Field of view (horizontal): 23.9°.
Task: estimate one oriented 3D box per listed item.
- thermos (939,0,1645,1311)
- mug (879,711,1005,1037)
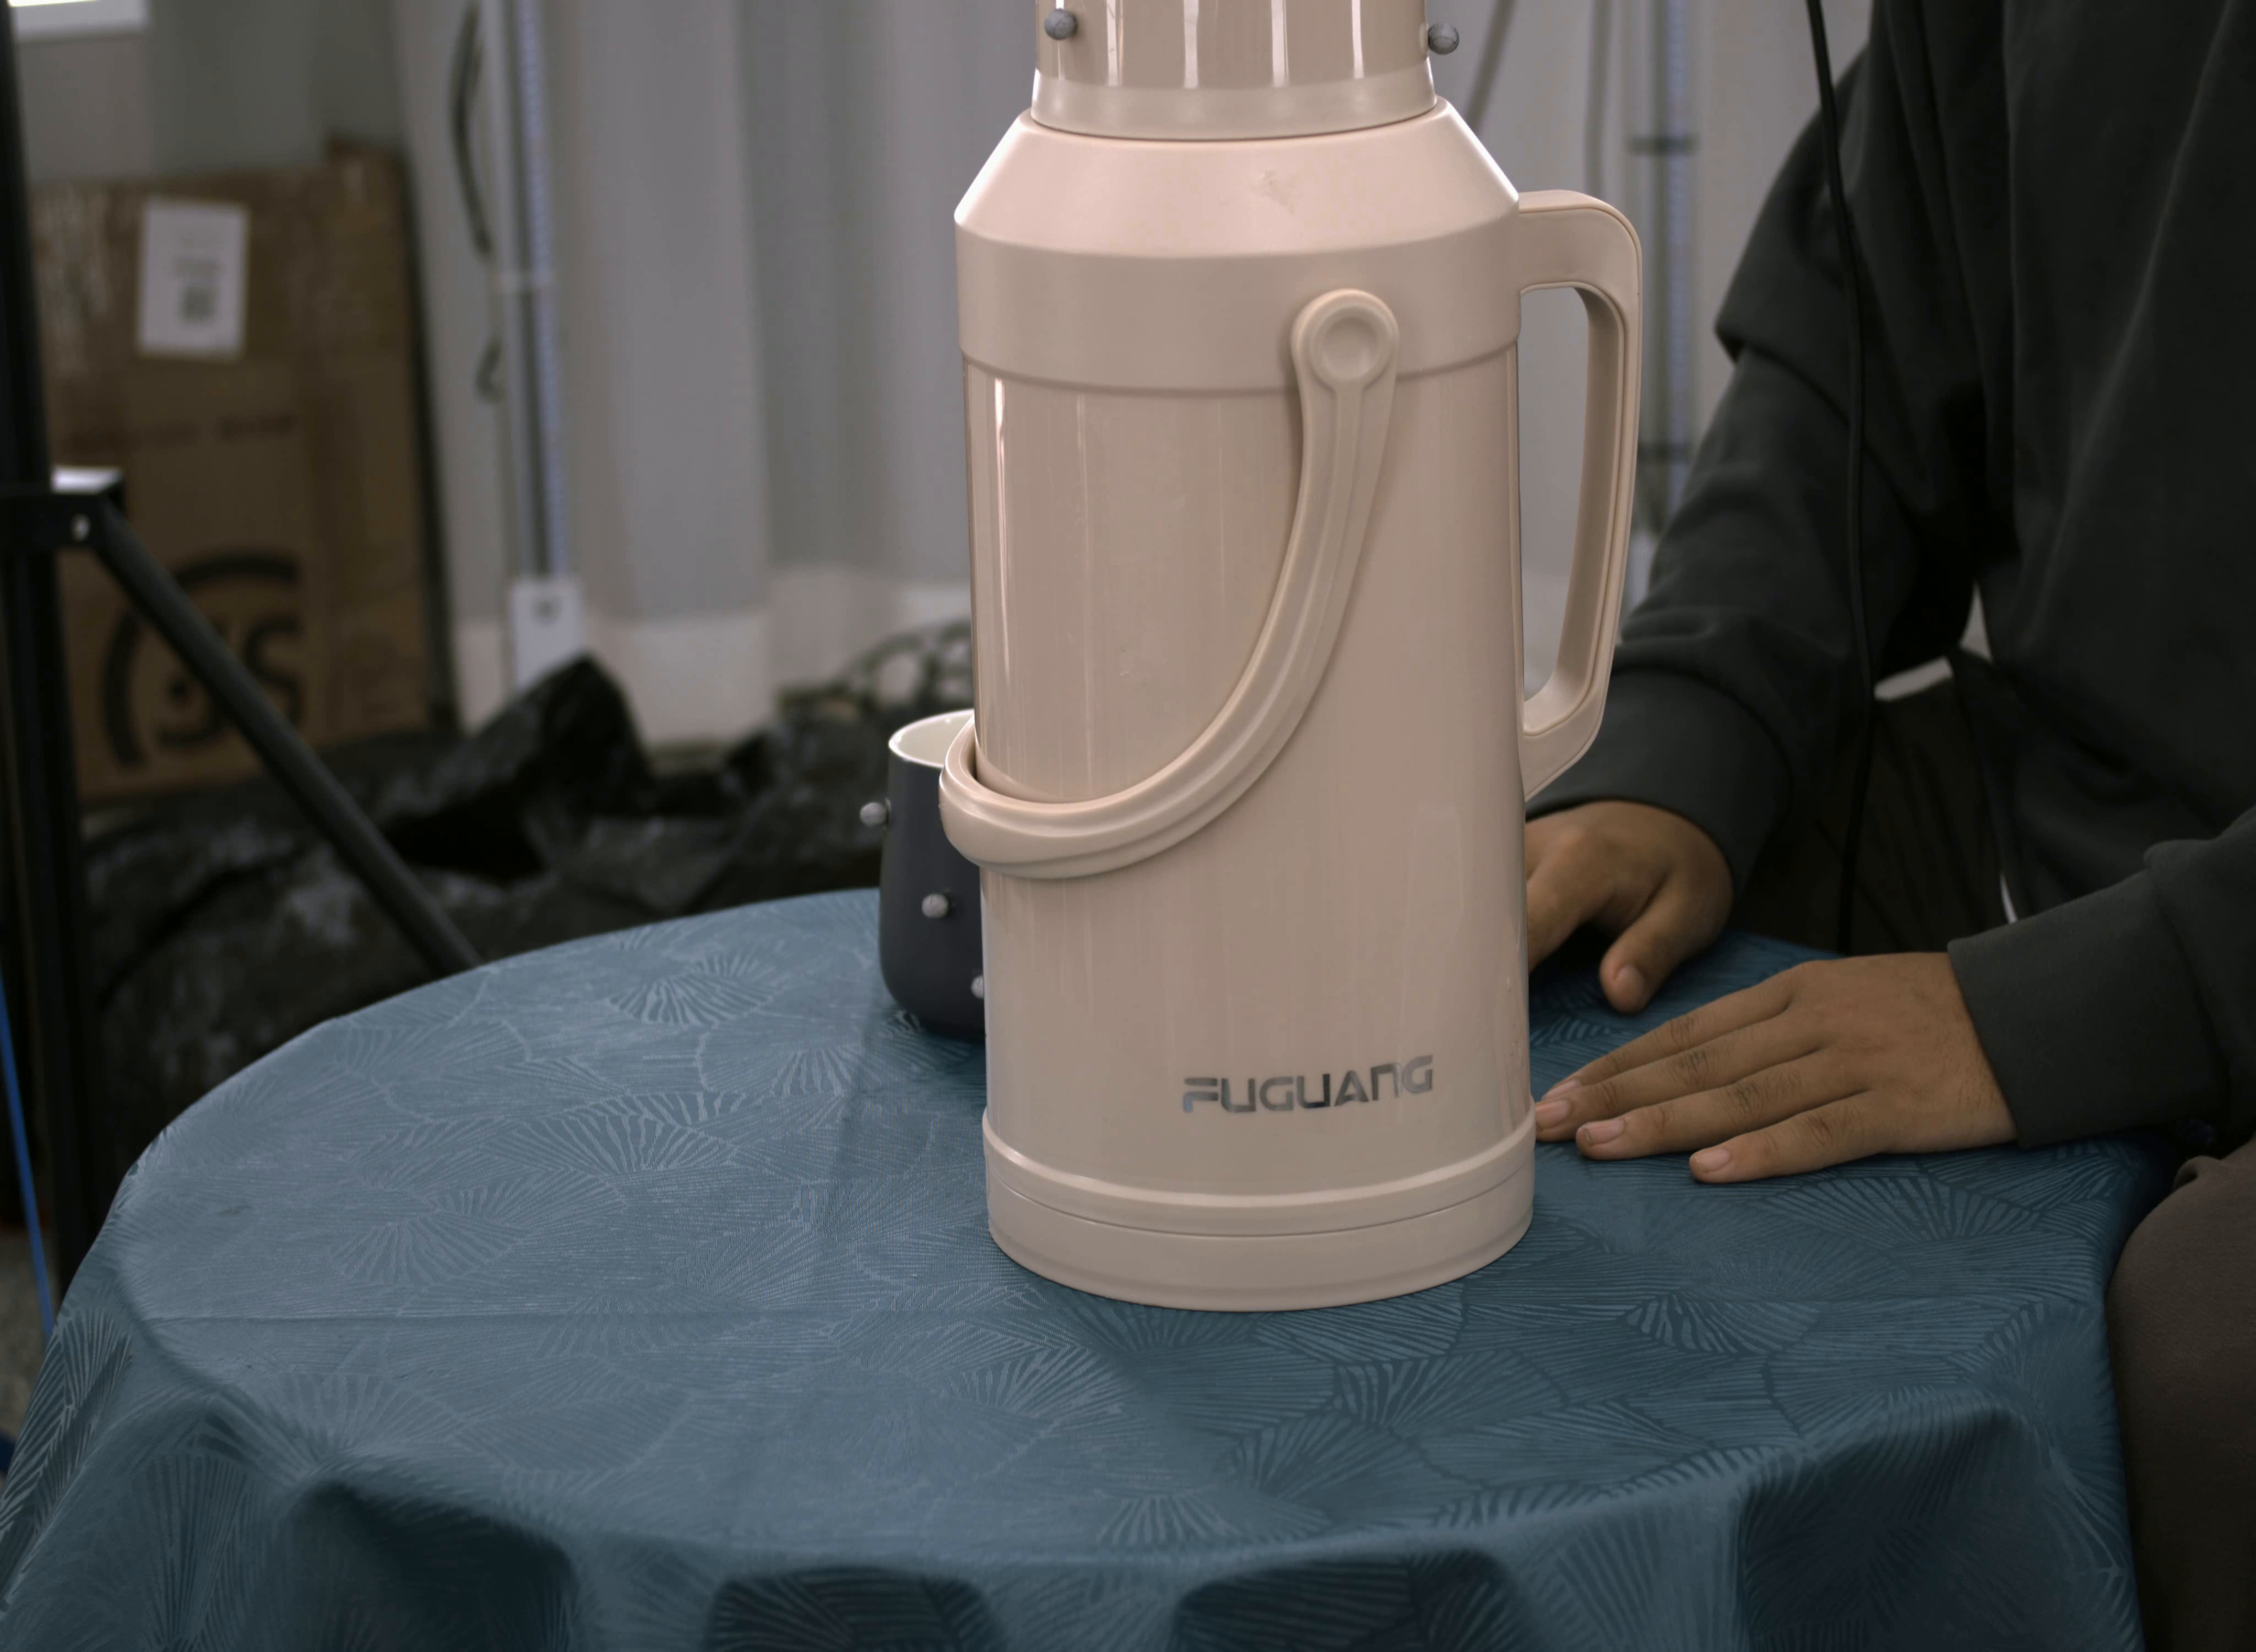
[{"bbox_3d":[0.047,-0.080,1.488,0.203,0.406,0.178,-7,15,-17],"label":"thermos"},{"bbox_3d":[-0.020,0.014,1.725,0.122,0.090,0.094,-4,16,-8],"label":"mug"}]
